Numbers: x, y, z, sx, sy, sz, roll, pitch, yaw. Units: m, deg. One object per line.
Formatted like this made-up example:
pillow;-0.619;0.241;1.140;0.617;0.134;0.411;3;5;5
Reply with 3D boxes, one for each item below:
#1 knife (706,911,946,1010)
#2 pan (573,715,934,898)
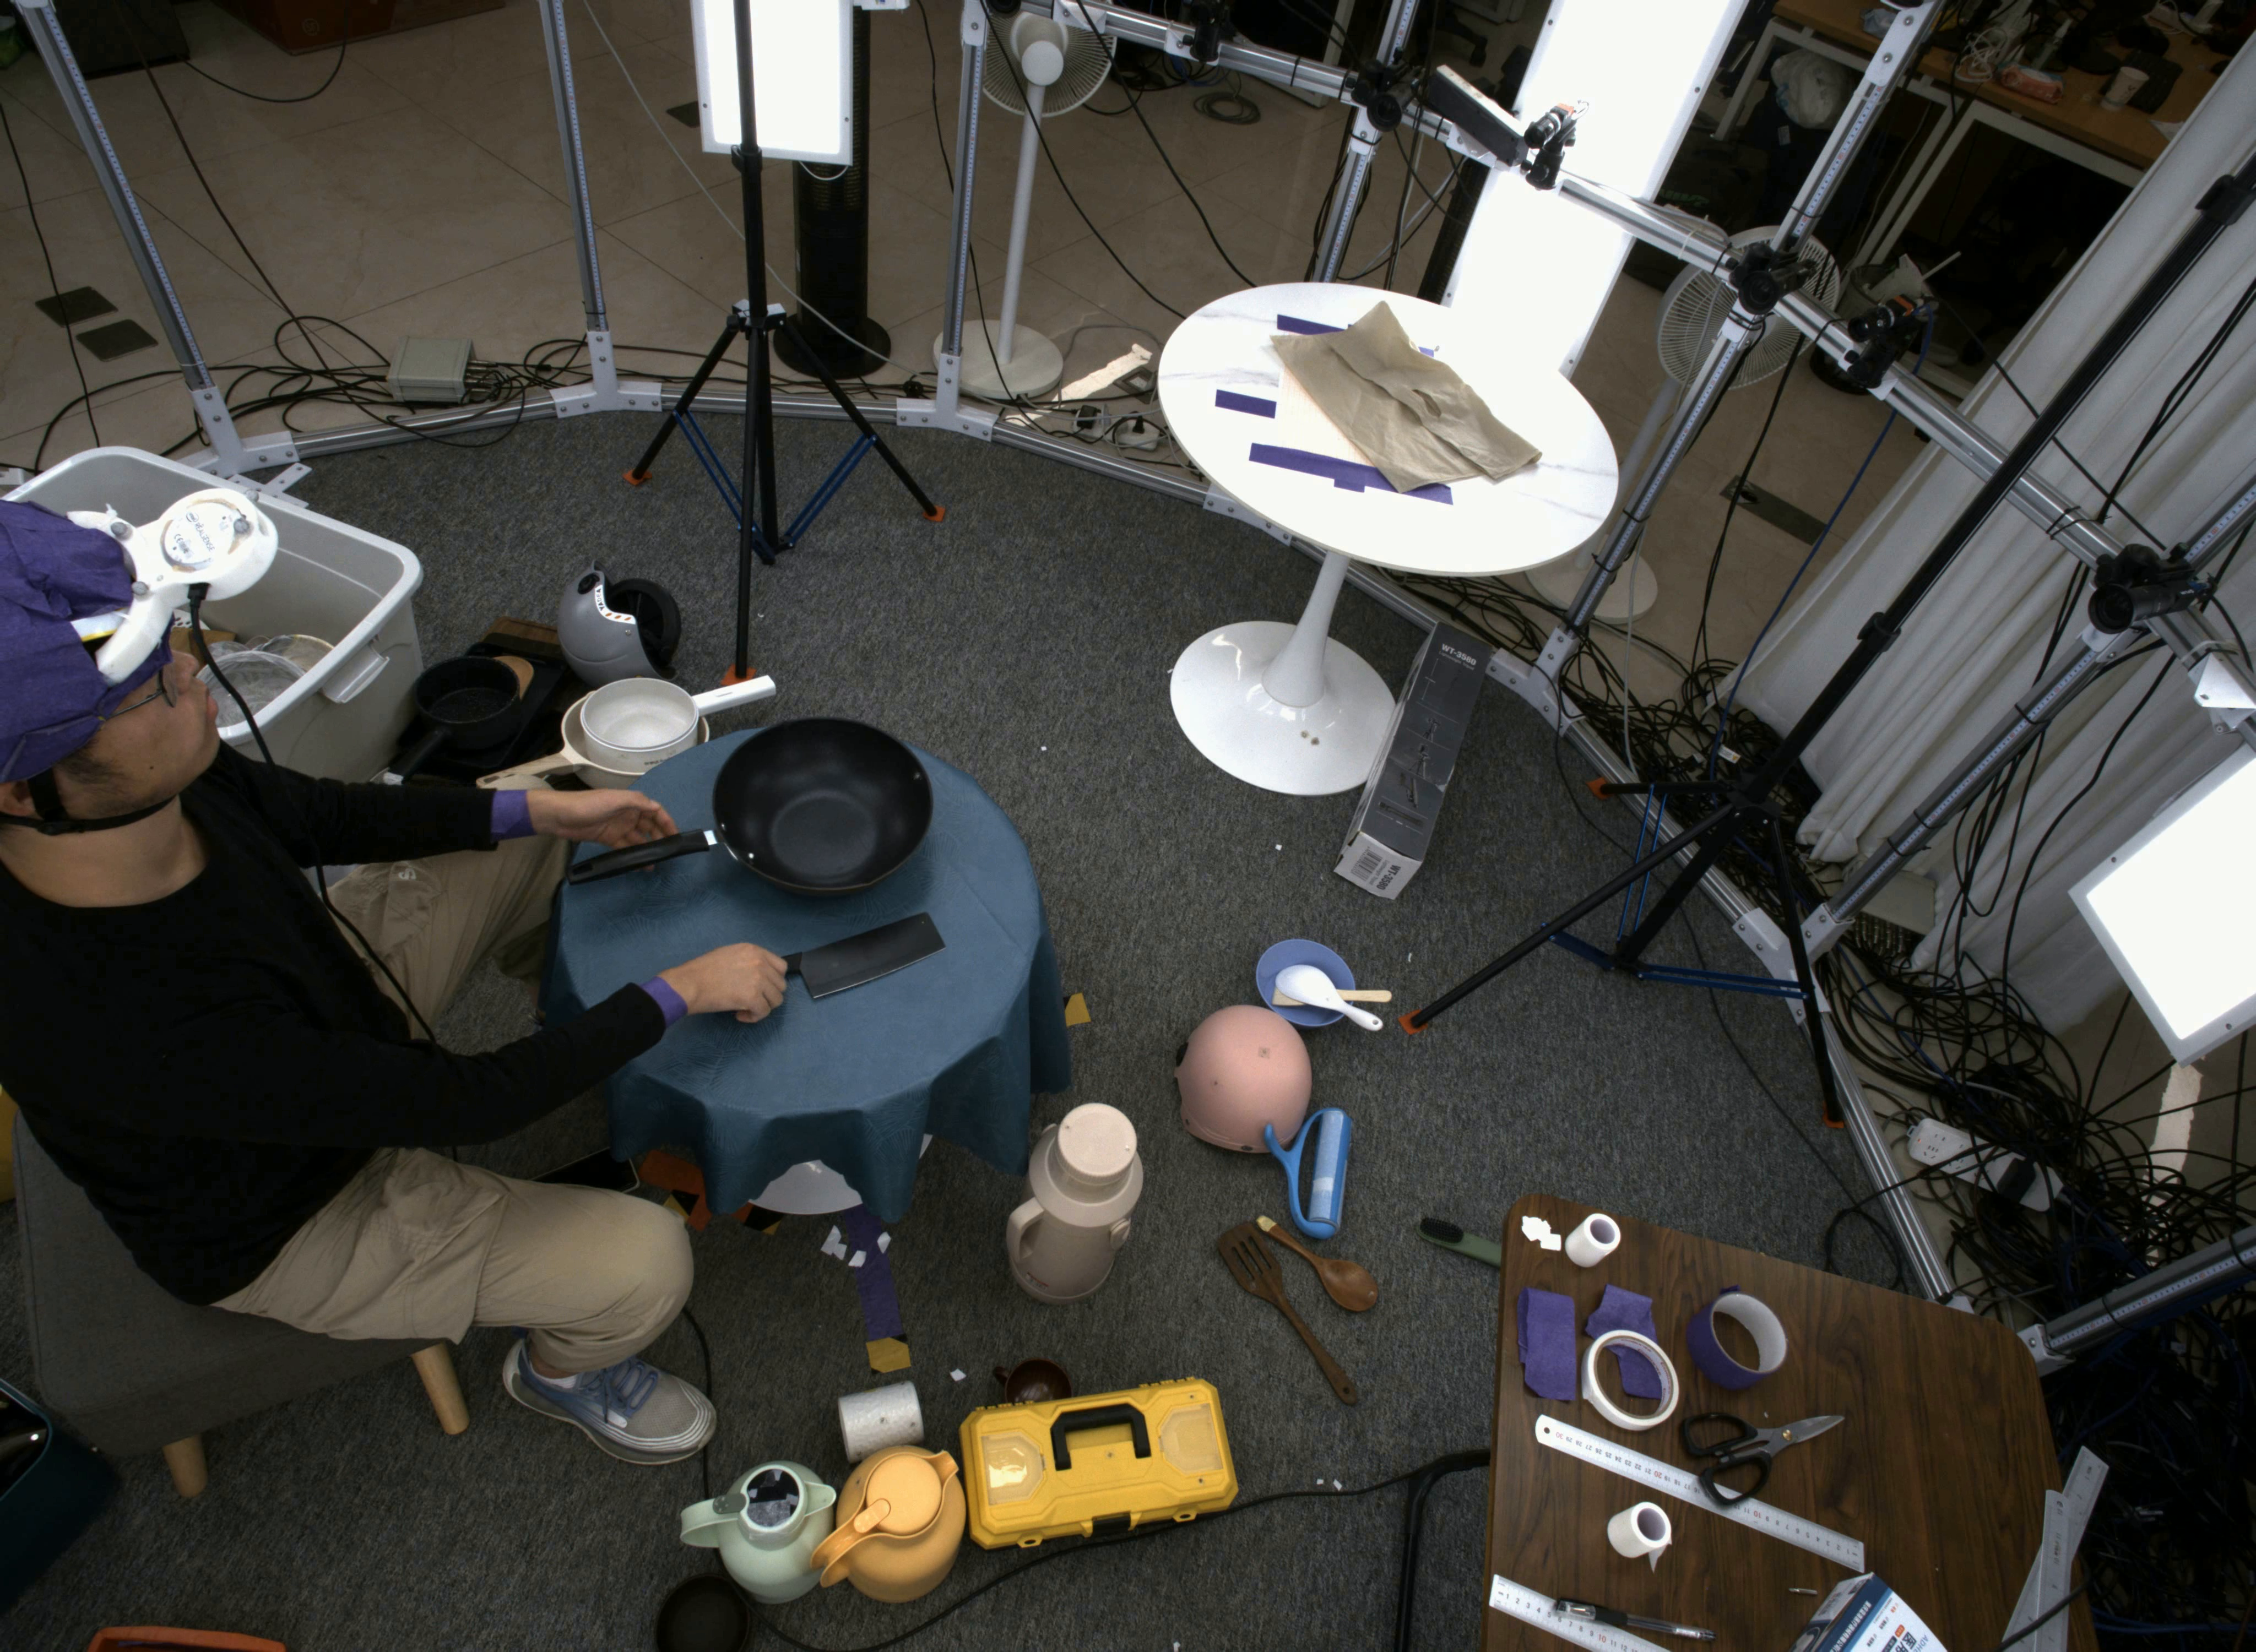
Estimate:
knife;-0.371;0.170;1.599;0.304;0.021;0.079;-14;58;-26
pan;-0.471;0.013;1.647;0.465;0.088;0.281;-19;60;-25
